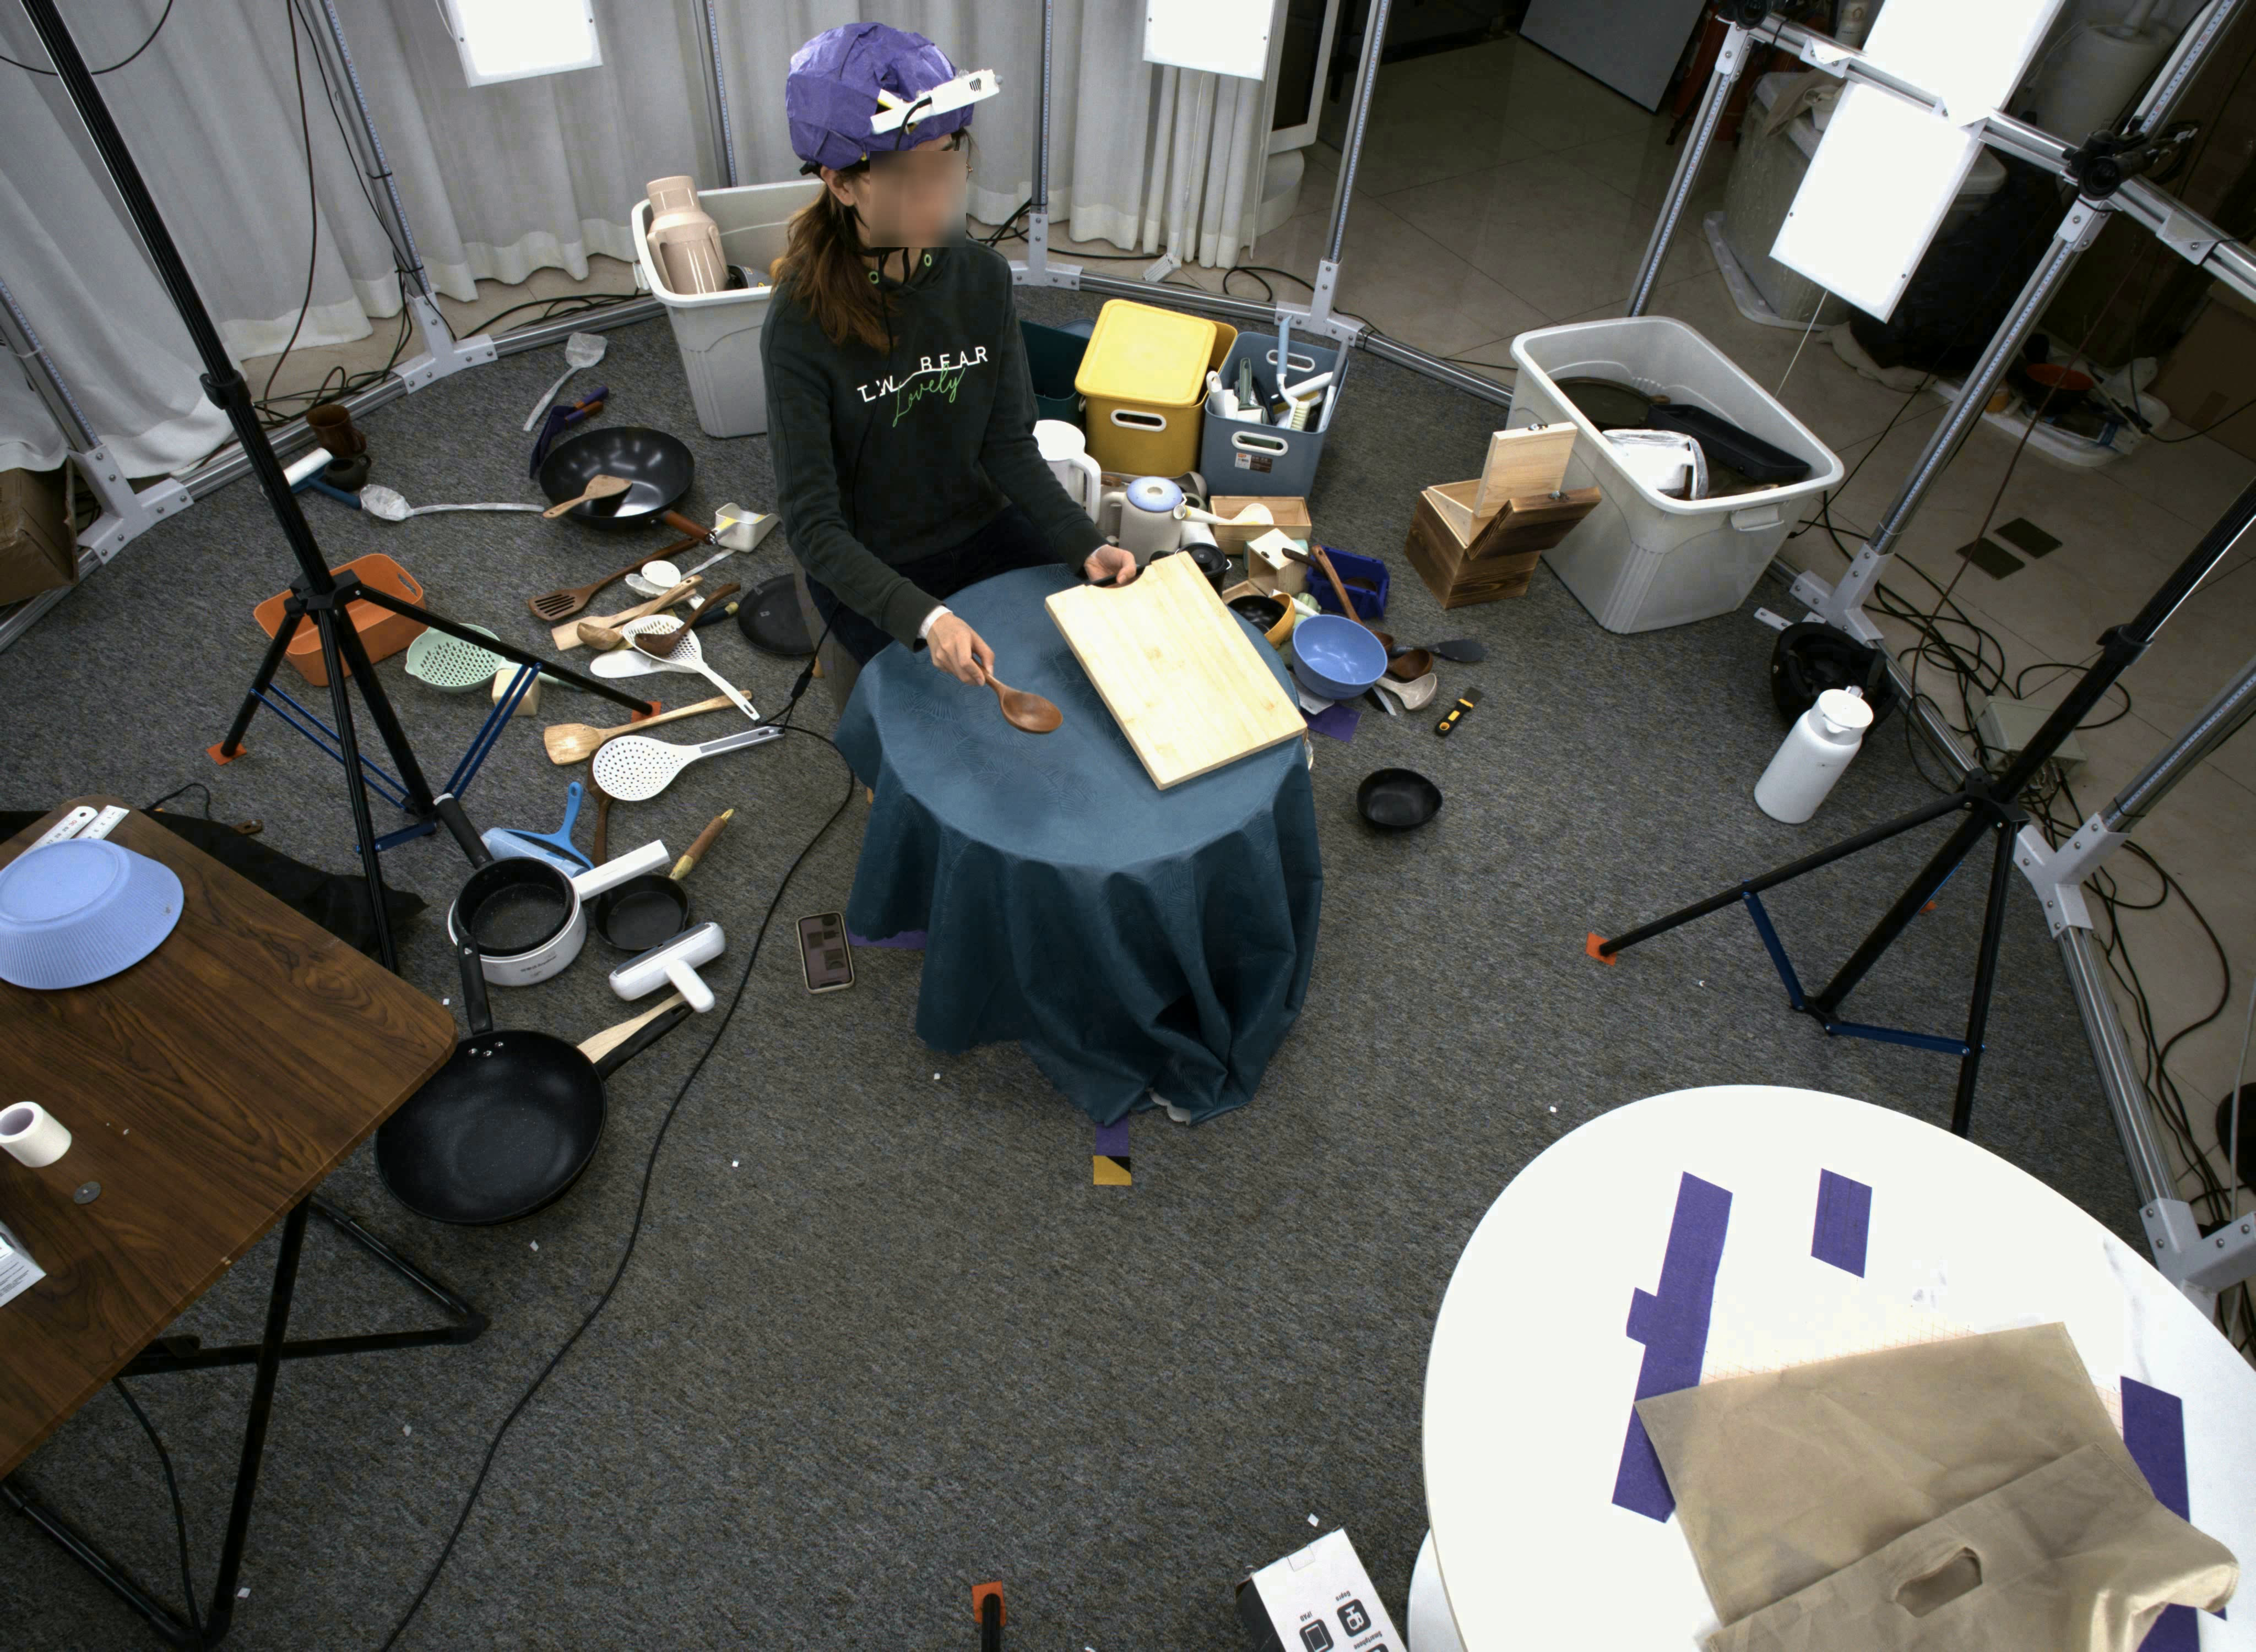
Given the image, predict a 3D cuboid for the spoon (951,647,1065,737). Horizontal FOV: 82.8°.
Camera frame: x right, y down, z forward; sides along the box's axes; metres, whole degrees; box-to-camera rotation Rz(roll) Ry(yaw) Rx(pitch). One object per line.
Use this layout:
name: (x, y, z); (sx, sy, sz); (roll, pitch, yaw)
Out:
spoon: (-0.165, -0.178, 1.704); (0.076, 0.017, 0.219); (-24, 52, -35)

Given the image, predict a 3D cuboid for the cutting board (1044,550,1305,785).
cutting board: (0.064, -0.233, 1.837); (0.251, 0.023, 0.355); (-22, 65, -22)
